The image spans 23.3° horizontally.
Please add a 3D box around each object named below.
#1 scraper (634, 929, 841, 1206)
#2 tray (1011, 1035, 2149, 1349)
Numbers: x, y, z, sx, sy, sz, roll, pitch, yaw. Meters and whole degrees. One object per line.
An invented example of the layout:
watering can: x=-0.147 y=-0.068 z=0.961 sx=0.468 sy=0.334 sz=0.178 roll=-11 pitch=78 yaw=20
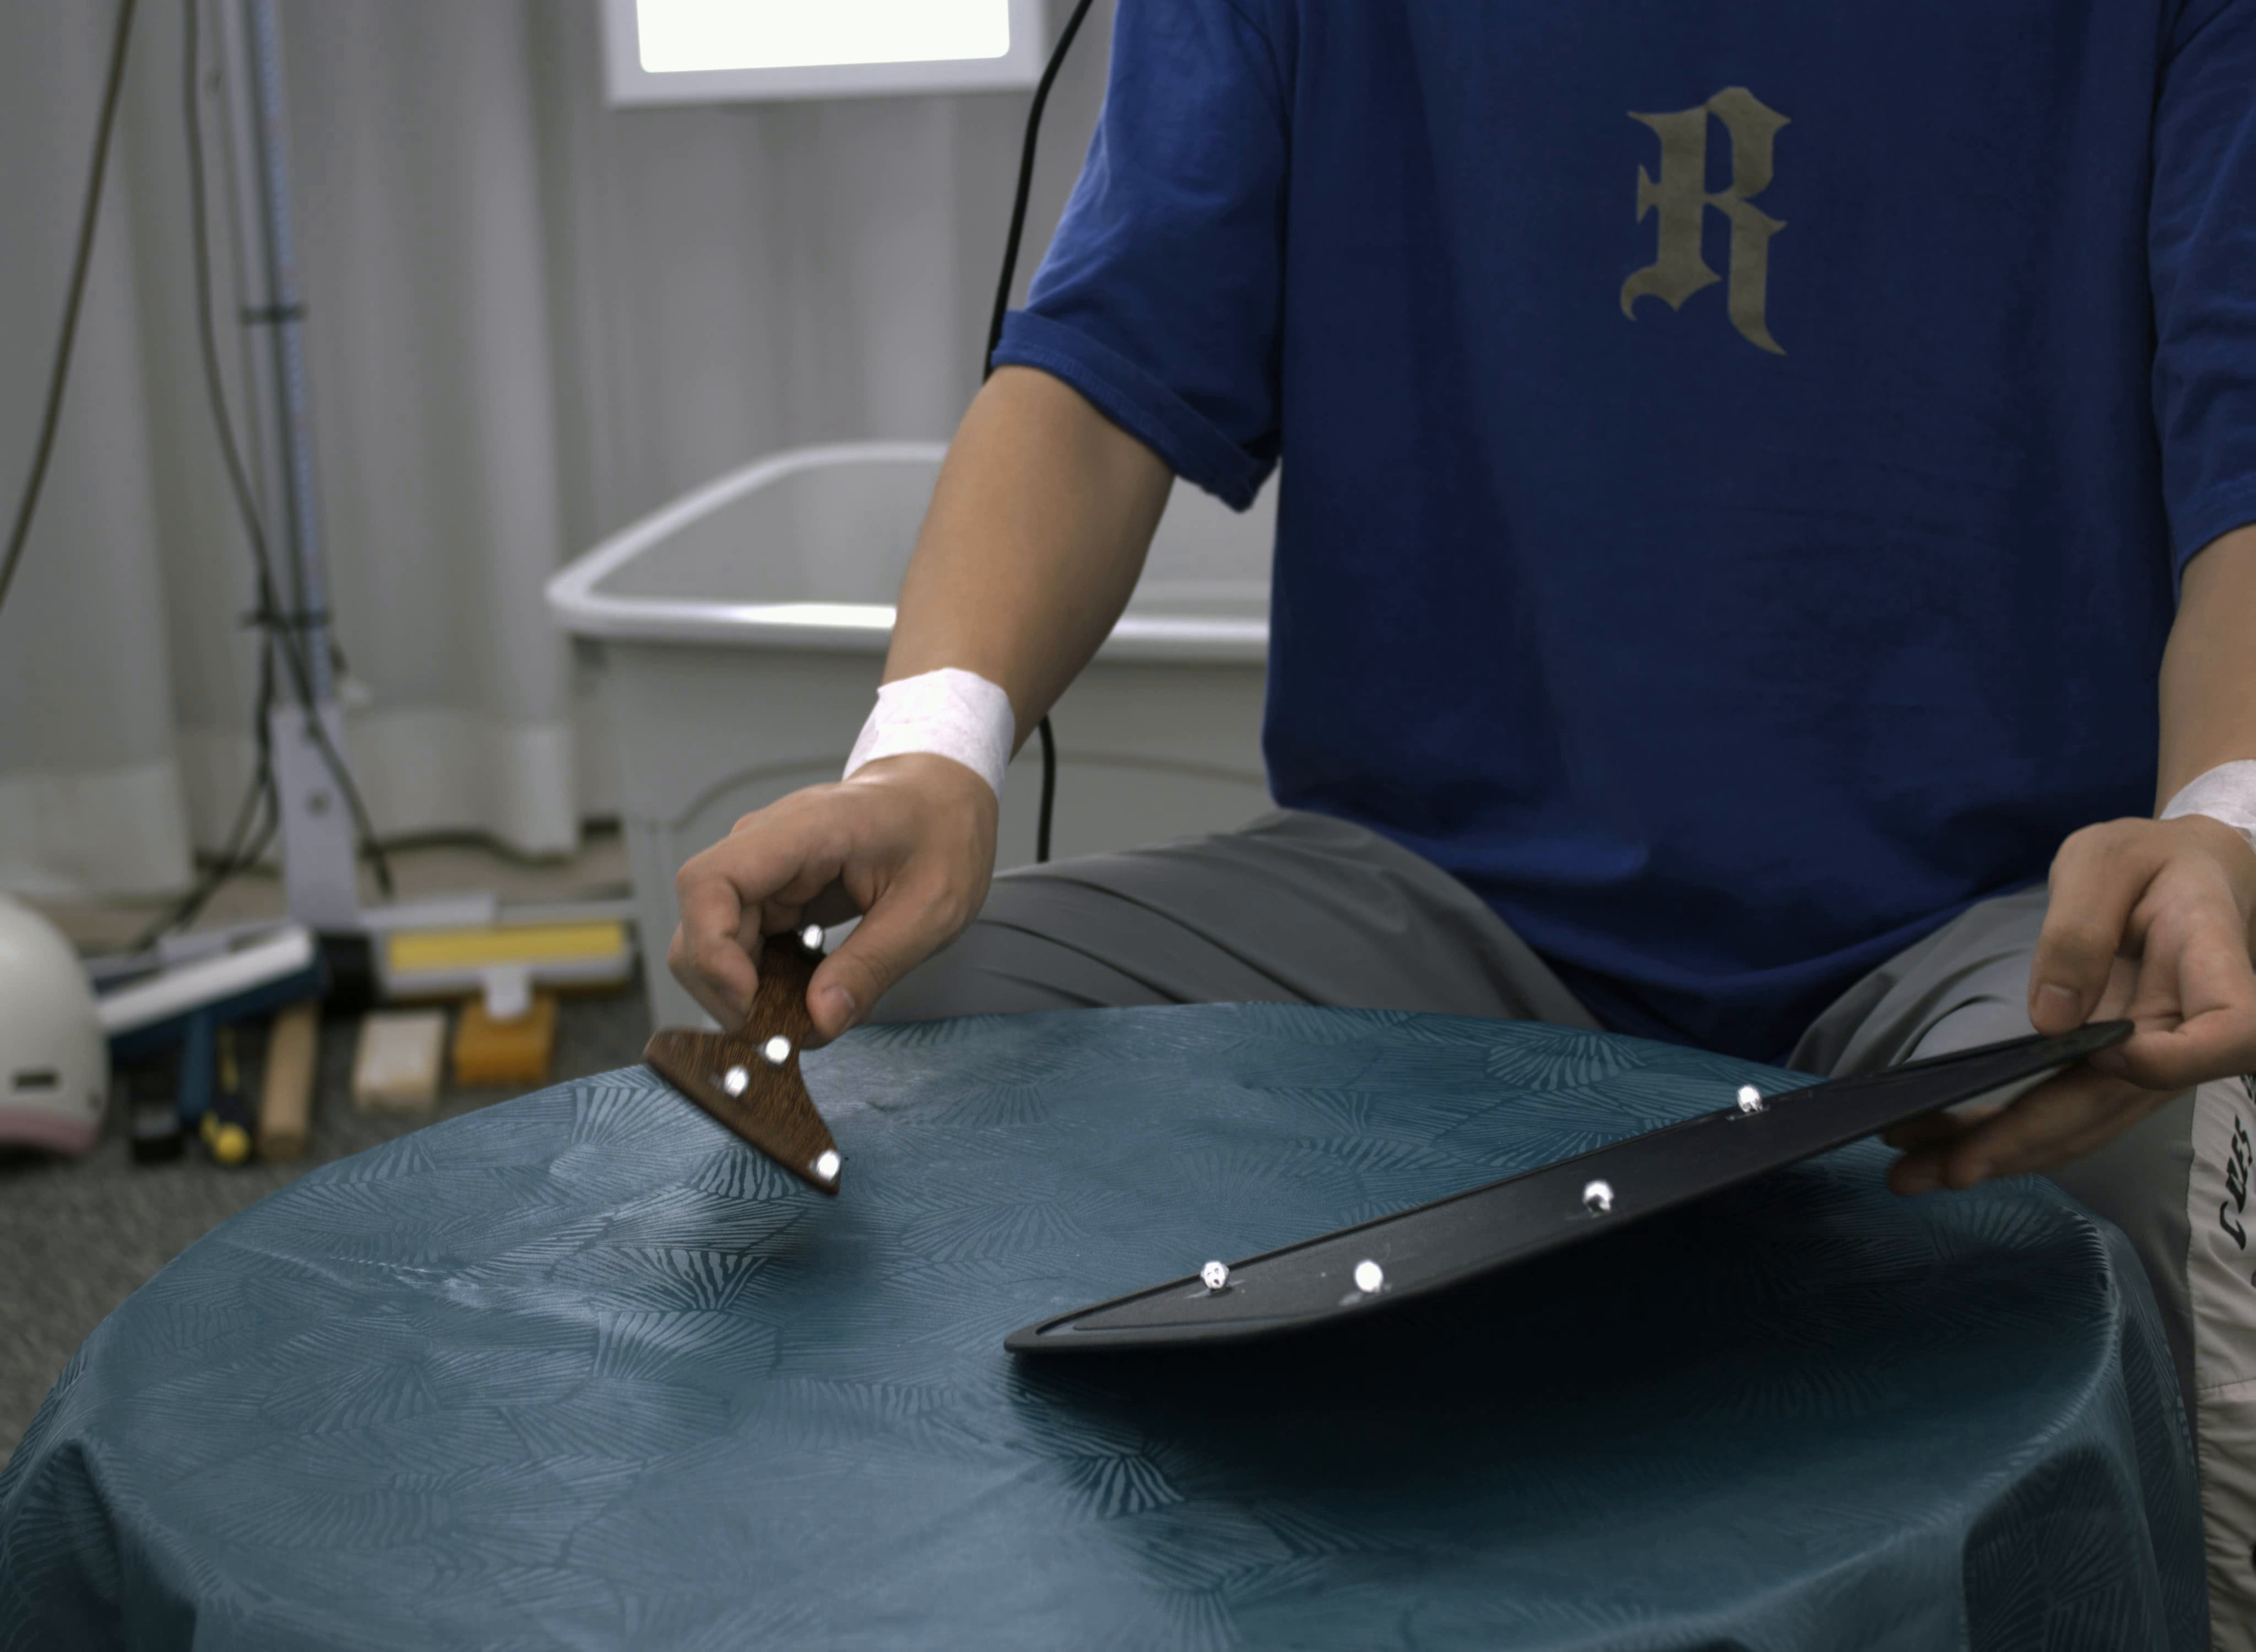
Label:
scraper: x=-0.114 y=0.069 z=1.736 sx=0.075 sy=0.011 sz=0.212 roll=36 pitch=14 yaw=-6
tray: x=0.135 y=0.102 z=1.569 sx=0.324 sy=0.010 sz=0.211 roll=-15 pitch=0 yaw=-28
